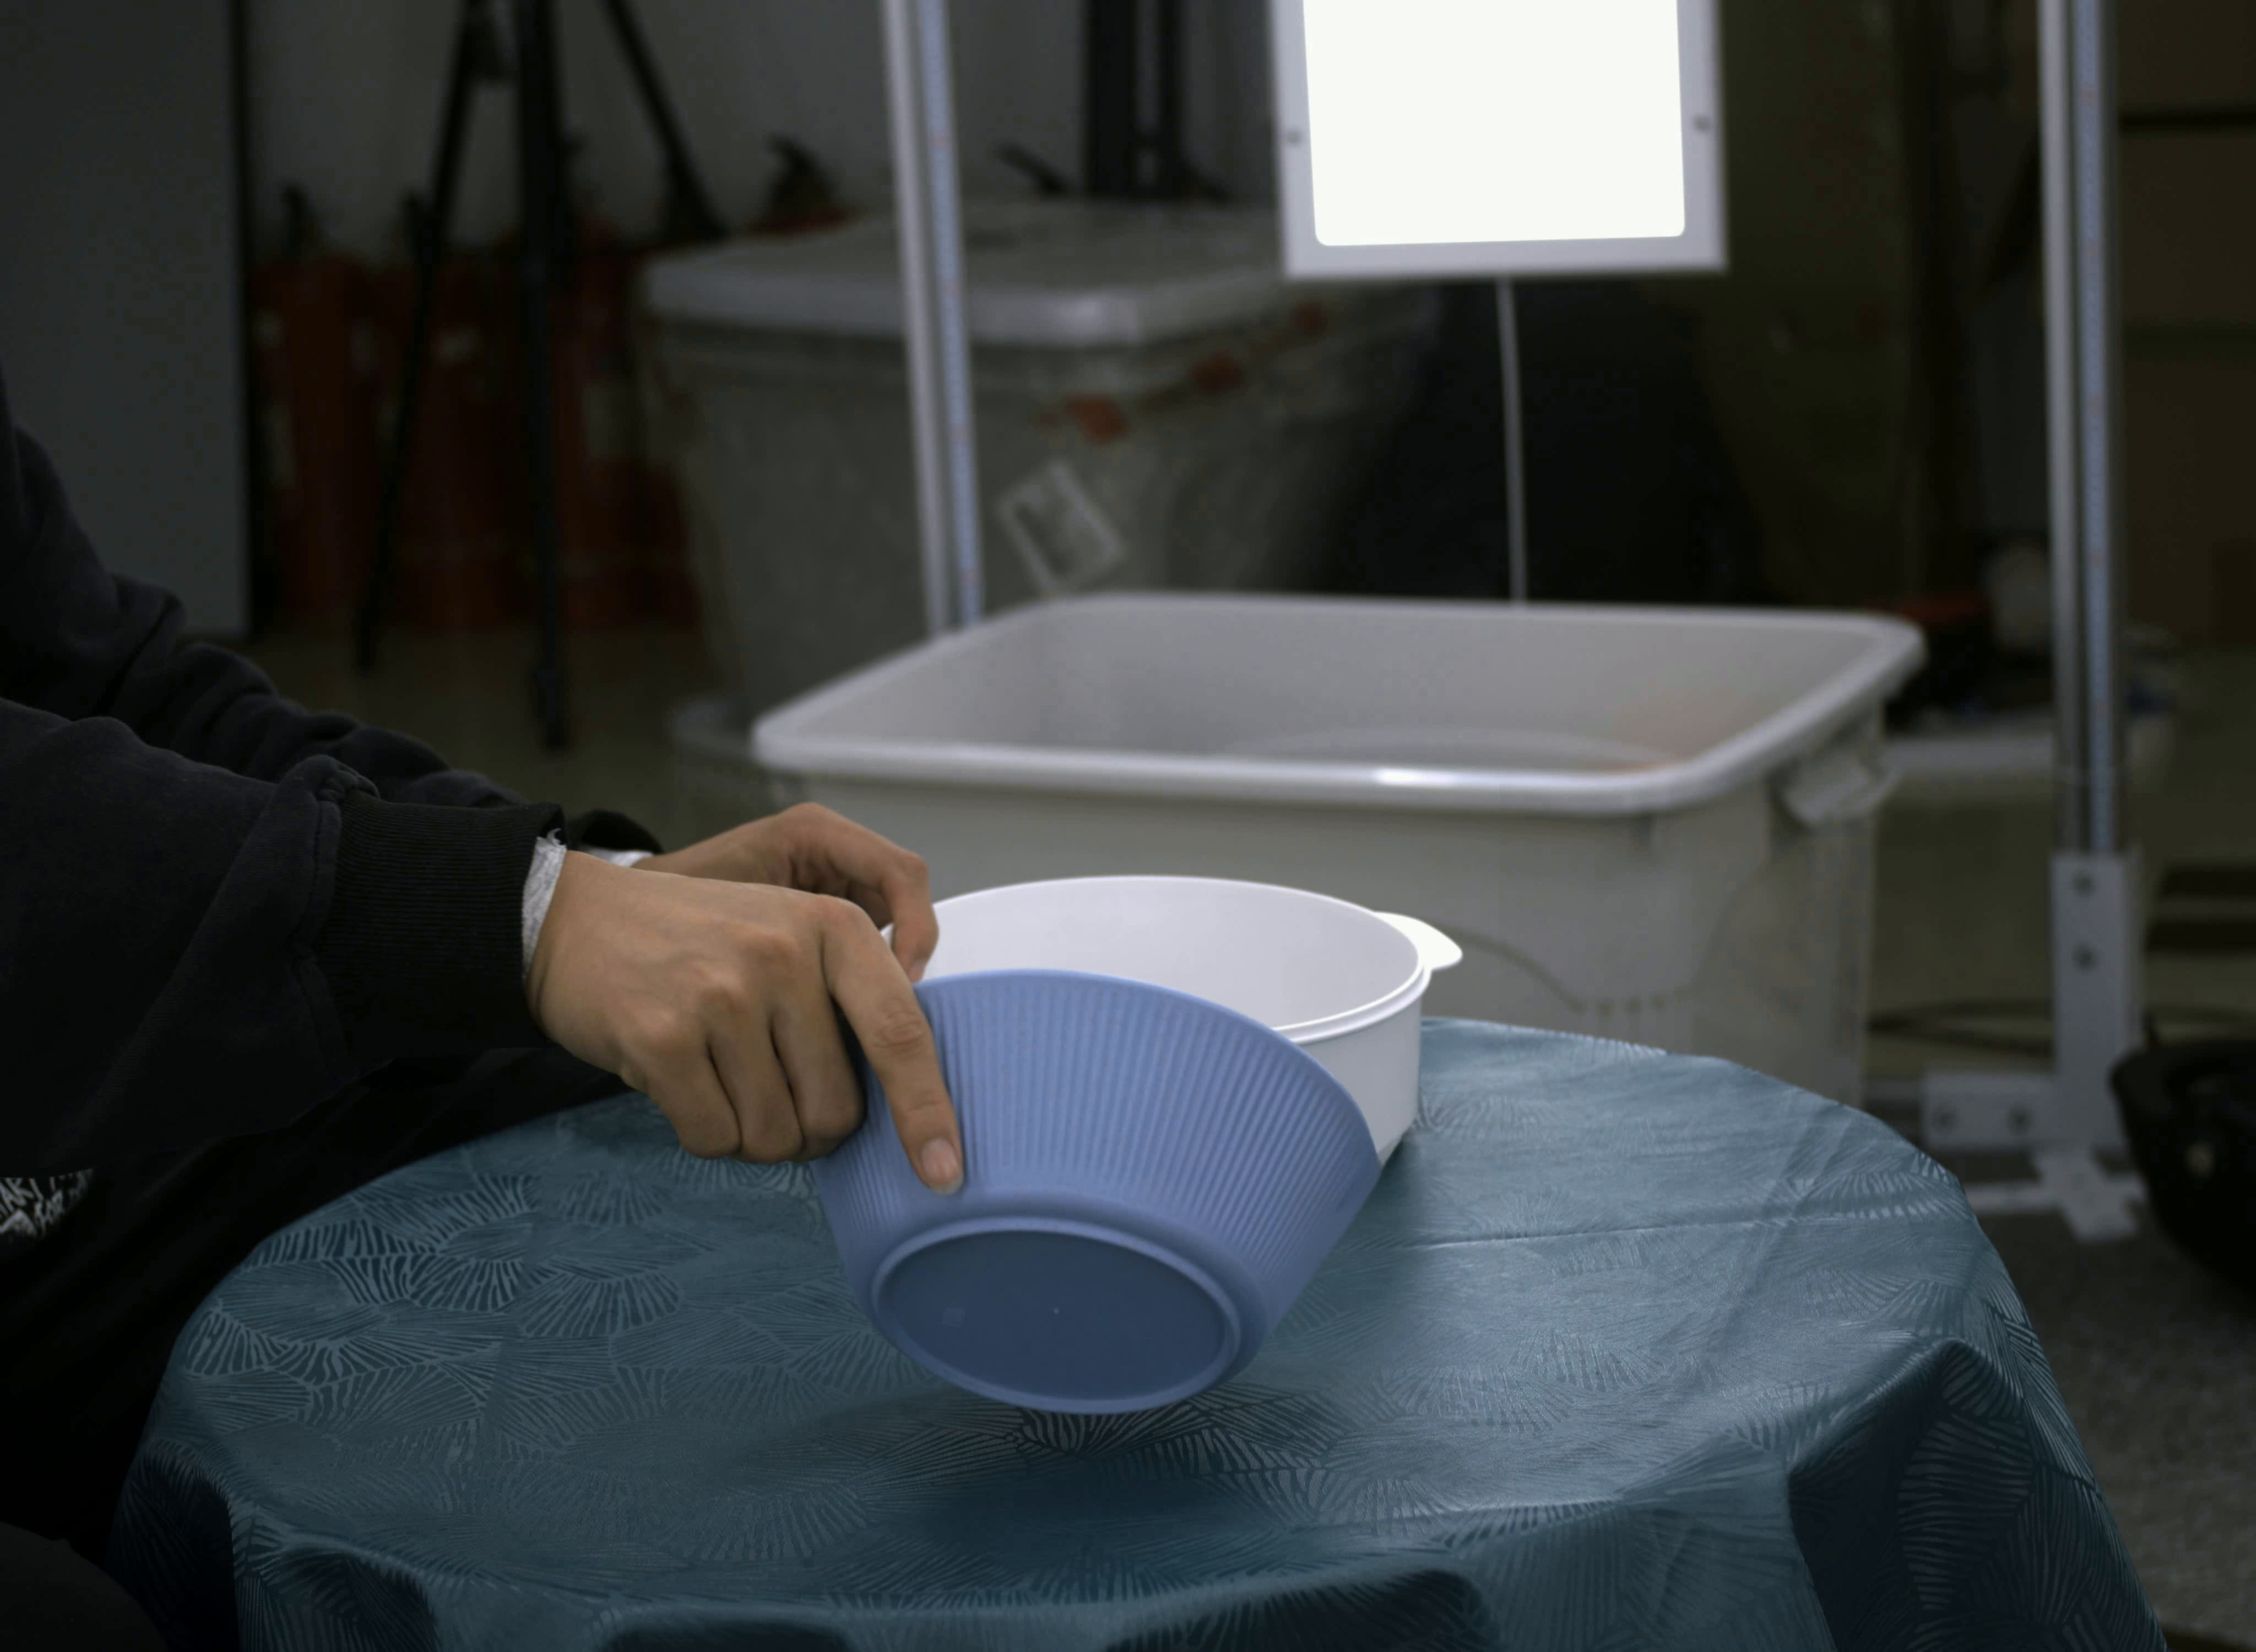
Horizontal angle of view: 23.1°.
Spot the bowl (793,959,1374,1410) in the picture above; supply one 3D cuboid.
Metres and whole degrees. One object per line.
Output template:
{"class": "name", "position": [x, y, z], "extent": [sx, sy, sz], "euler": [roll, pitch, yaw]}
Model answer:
{"class": "bowl", "position": [-0.017, 0.115, 1.626], "extent": [0.177, 0.175, 0.070], "euler": [0, 53, 14]}

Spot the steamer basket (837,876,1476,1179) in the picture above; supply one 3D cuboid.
{"class": "steamer basket", "position": [0.011, 0.075, 1.937], "extent": [0.226, 0.069, 0.204], "euler": [-3, 16, -19]}
